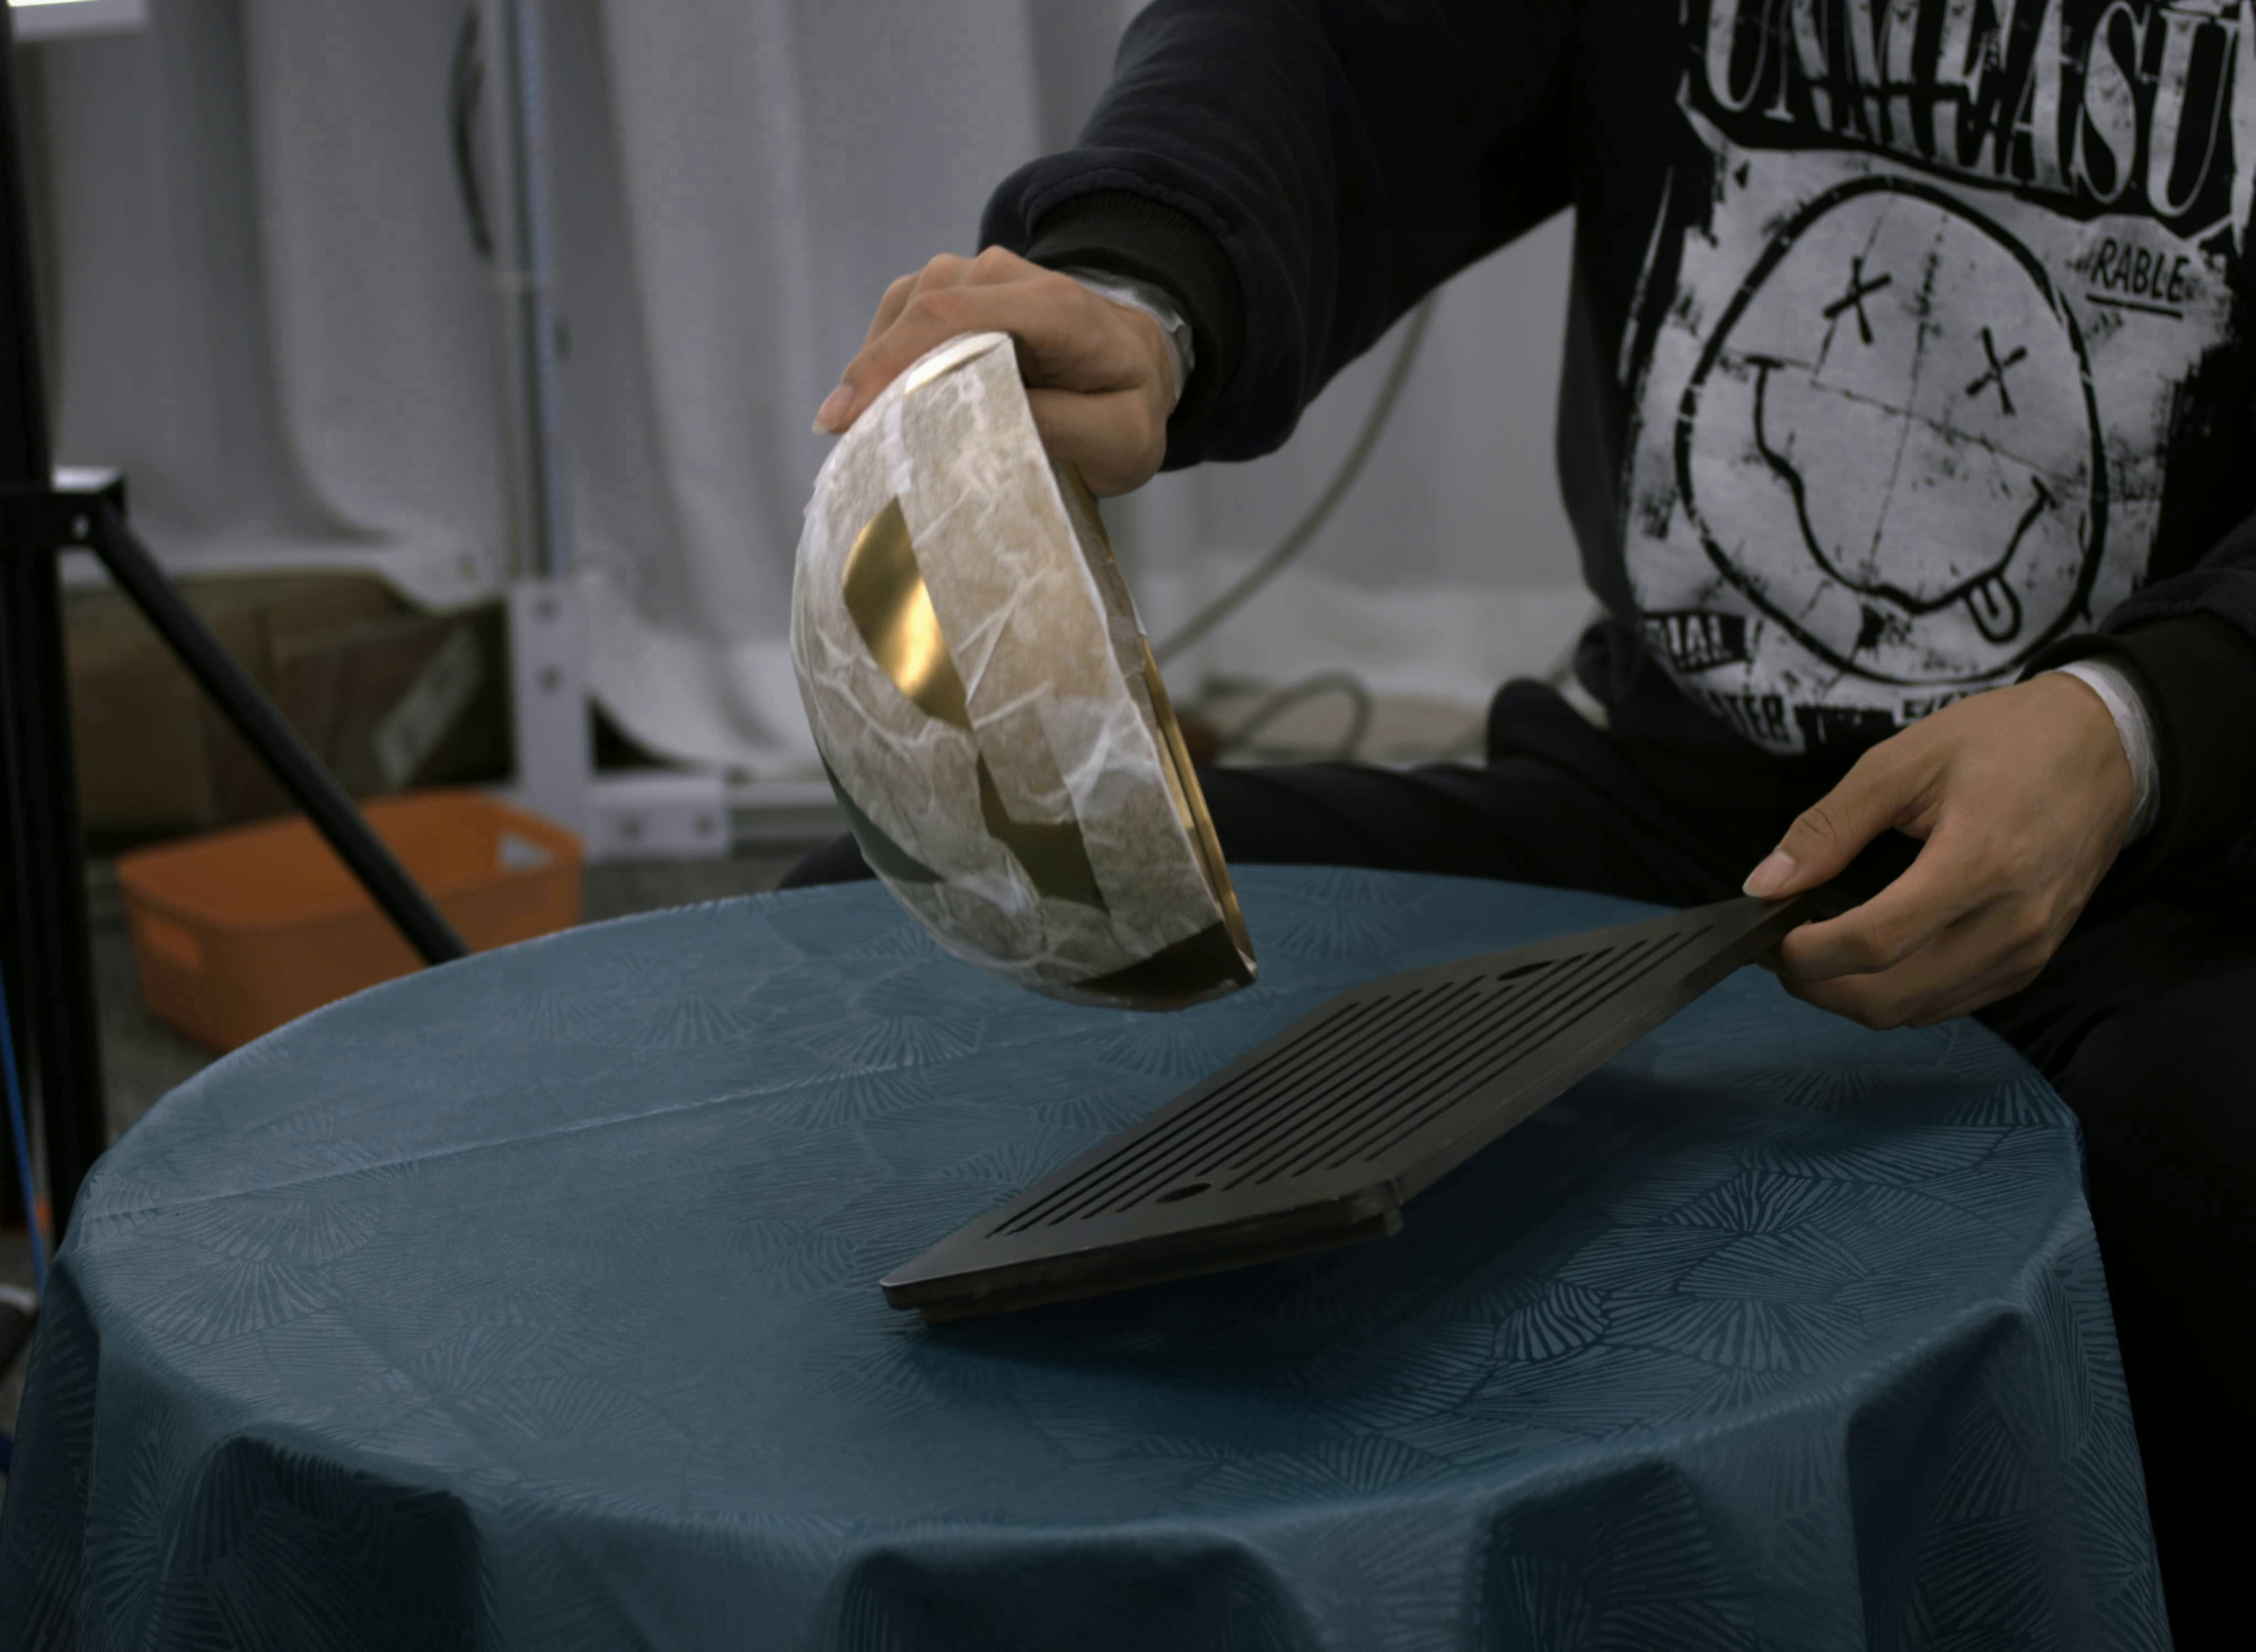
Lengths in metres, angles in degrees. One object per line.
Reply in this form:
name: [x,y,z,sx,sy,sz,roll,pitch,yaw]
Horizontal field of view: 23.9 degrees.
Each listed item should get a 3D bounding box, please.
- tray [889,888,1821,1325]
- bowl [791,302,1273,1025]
tray: [0.073,0.080,1.526,0.173,0.018,0.300,-14,8,33]
bowl: [-0.037,-0.030,1.485,0.094,0.213,0.216,-22,15,4]
